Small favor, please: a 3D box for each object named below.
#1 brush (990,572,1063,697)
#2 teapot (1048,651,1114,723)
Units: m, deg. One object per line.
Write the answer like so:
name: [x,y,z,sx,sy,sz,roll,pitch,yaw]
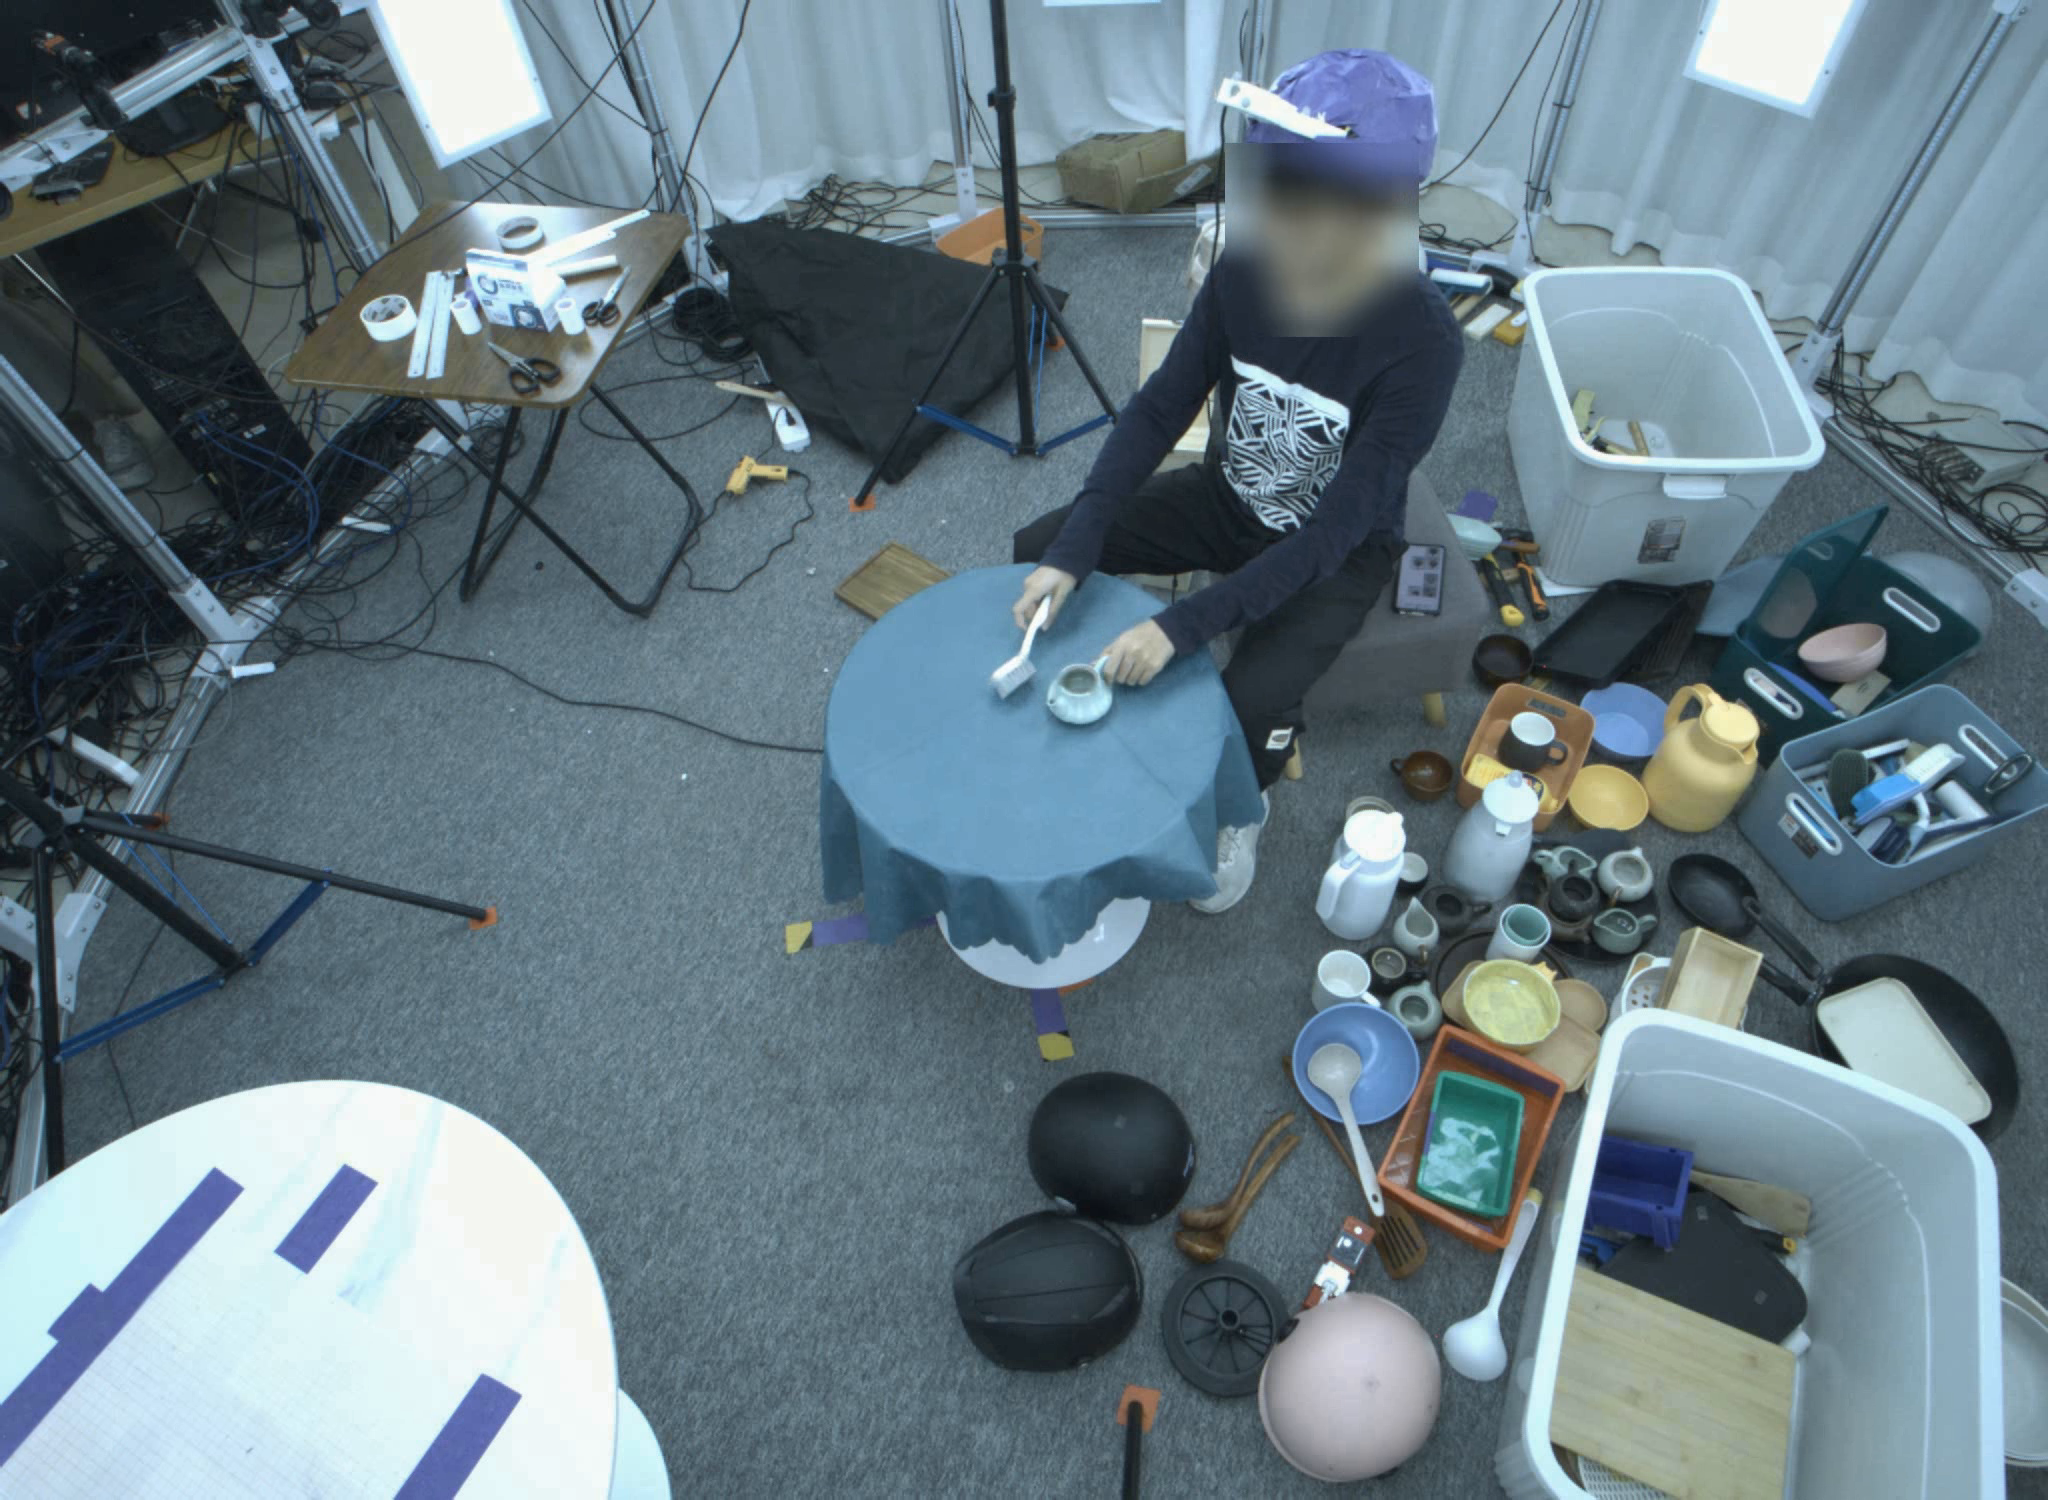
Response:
brush: [0.020,-0.177,1.869,0.050,0.034,0.244,32,60,-3]
teapot: [0.085,-0.090,1.804,0.094,0.062,0.138,35,64,27]
